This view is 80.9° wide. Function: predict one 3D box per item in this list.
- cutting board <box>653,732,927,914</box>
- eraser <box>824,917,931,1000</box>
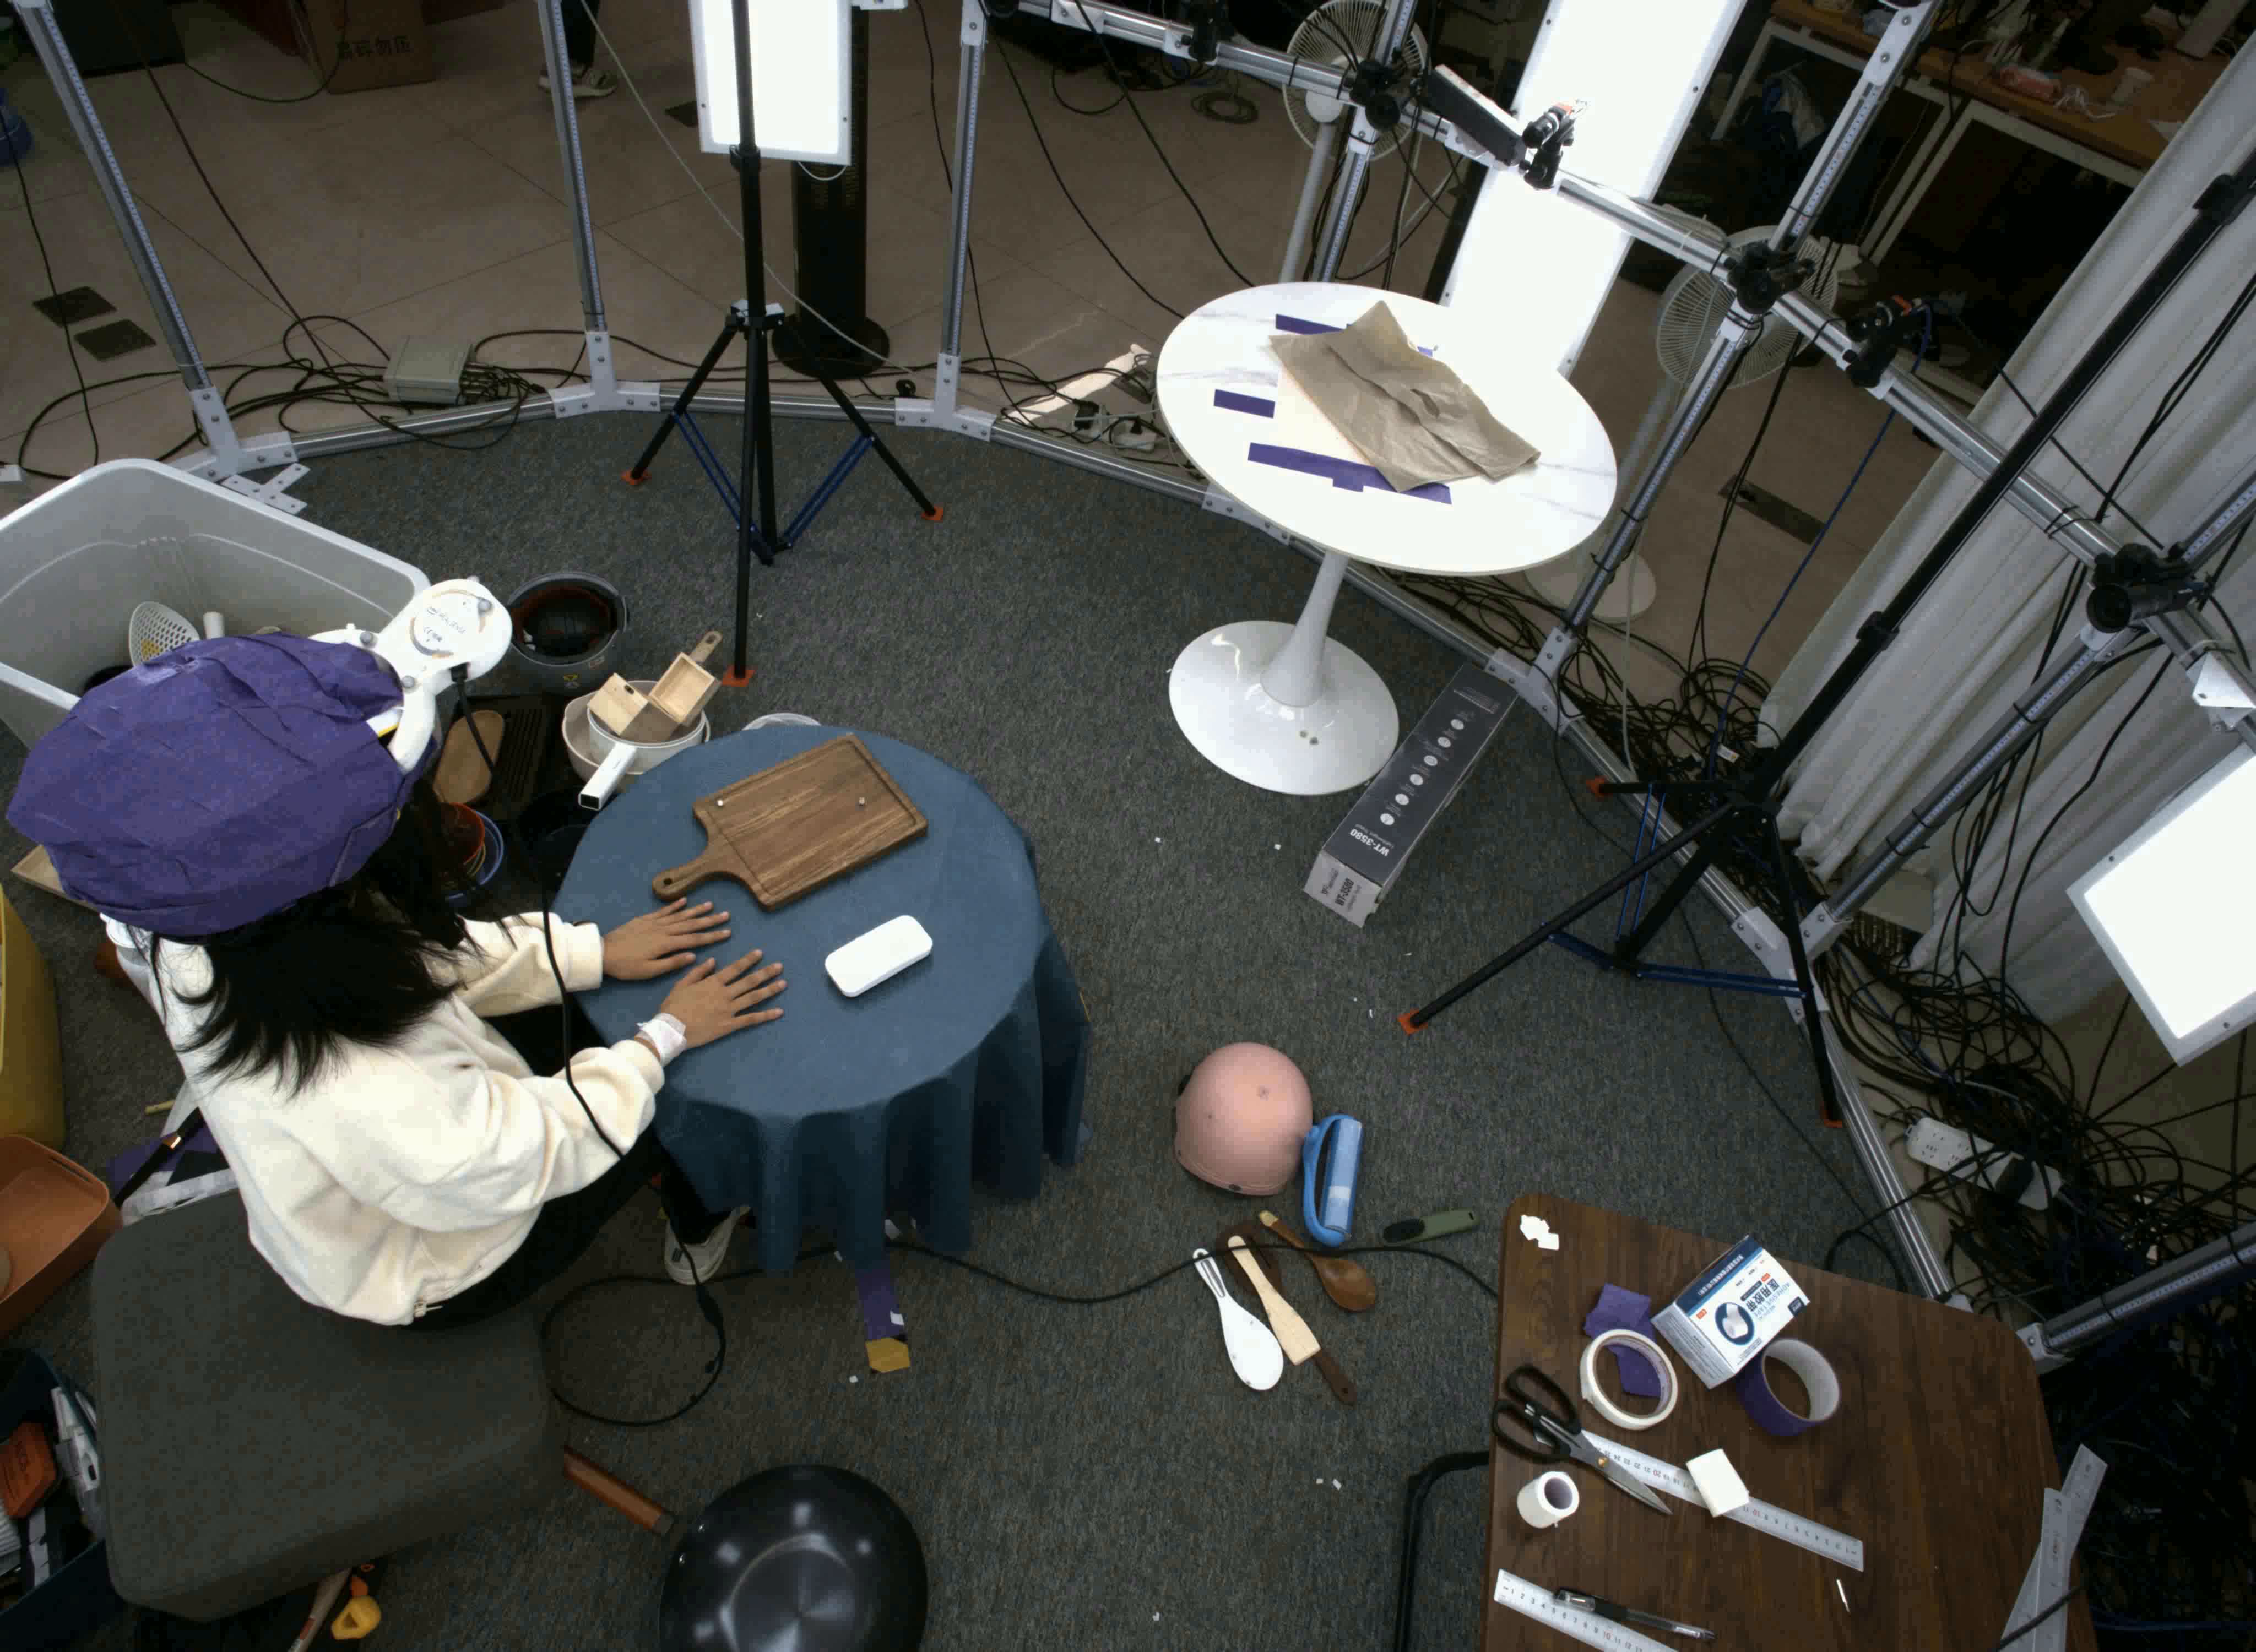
[{"bbox_3d":[-0.458,0.009,1.689,0.353,0.023,0.196,-30,66,-31],"label":"cutting board"},{"bbox_3d":[-0.310,0.160,1.610,0.132,0.035,0.062,-28,65,-31],"label":"eraser"}]
